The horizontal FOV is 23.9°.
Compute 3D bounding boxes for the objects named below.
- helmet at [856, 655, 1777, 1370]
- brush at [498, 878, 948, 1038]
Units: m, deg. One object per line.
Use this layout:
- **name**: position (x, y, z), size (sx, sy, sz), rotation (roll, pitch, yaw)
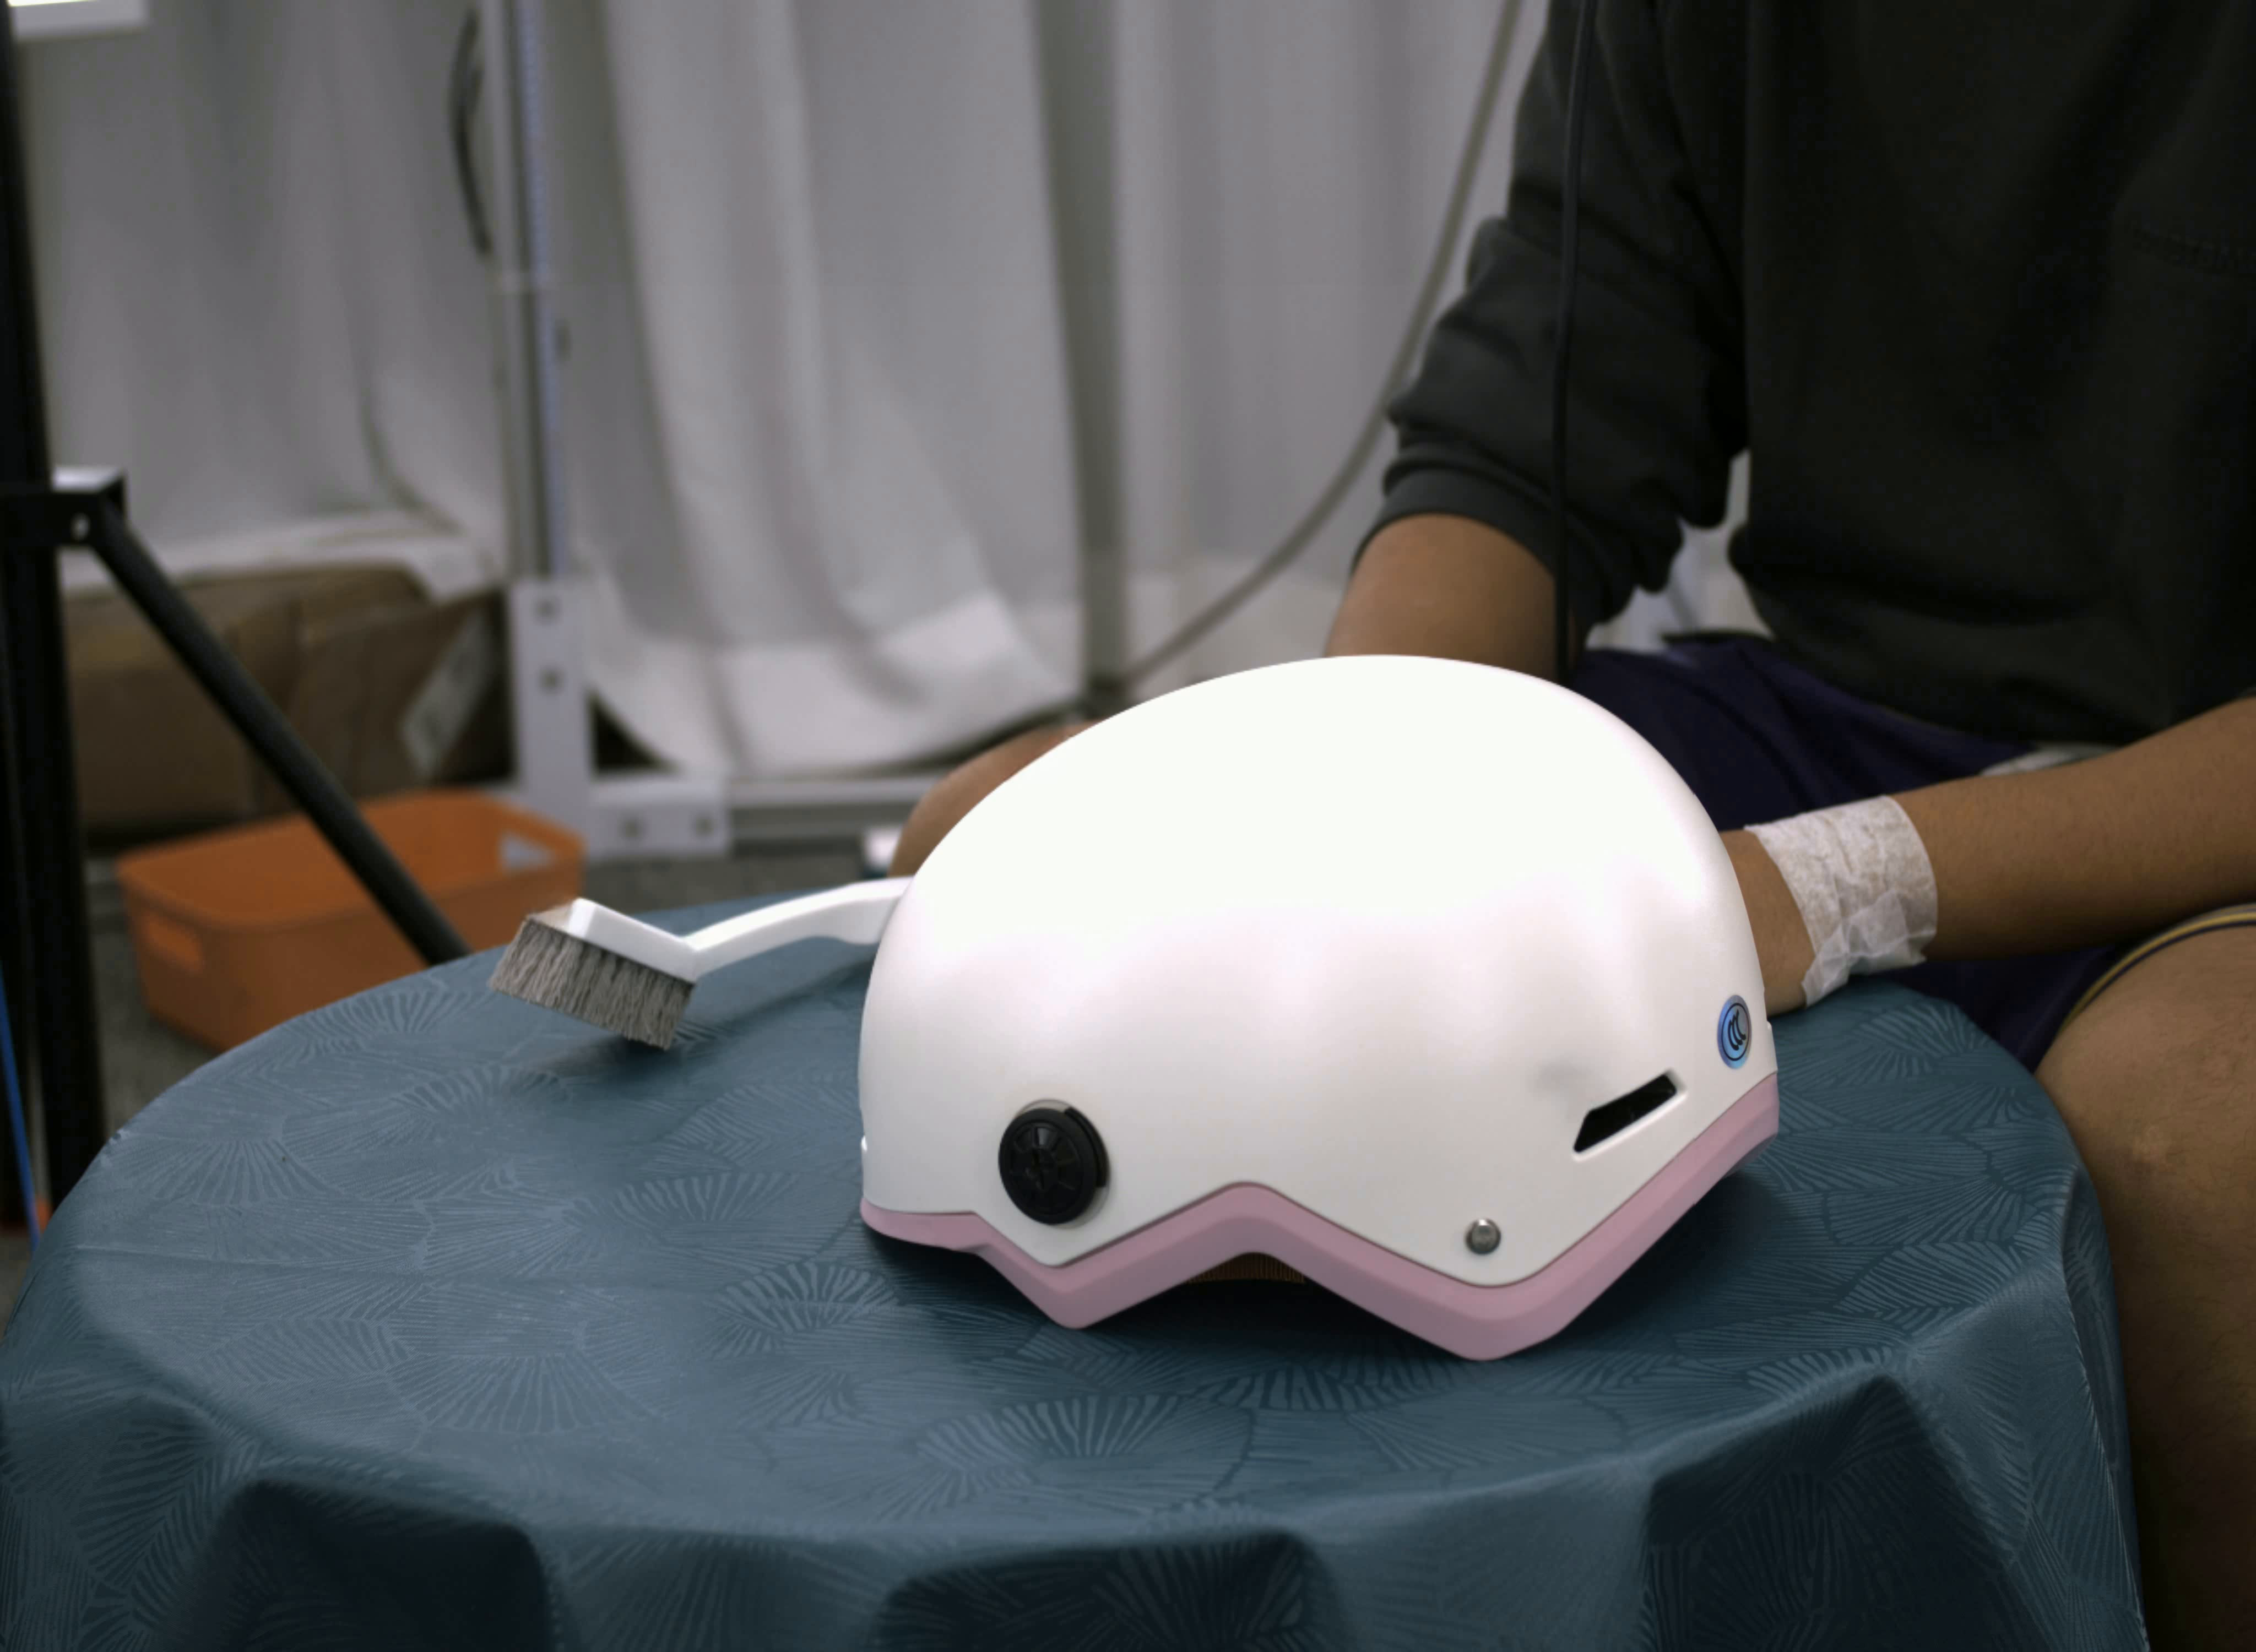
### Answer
- **helmet**: position (0.049, 0.036, 1.509), size (0.273, 0.167, 0.233), rotation (6, 18, 29)
- **brush**: position (-0.111, 0.043, 1.766), size (0.035, 0.050, 0.237), rotation (11, 7, 41)
